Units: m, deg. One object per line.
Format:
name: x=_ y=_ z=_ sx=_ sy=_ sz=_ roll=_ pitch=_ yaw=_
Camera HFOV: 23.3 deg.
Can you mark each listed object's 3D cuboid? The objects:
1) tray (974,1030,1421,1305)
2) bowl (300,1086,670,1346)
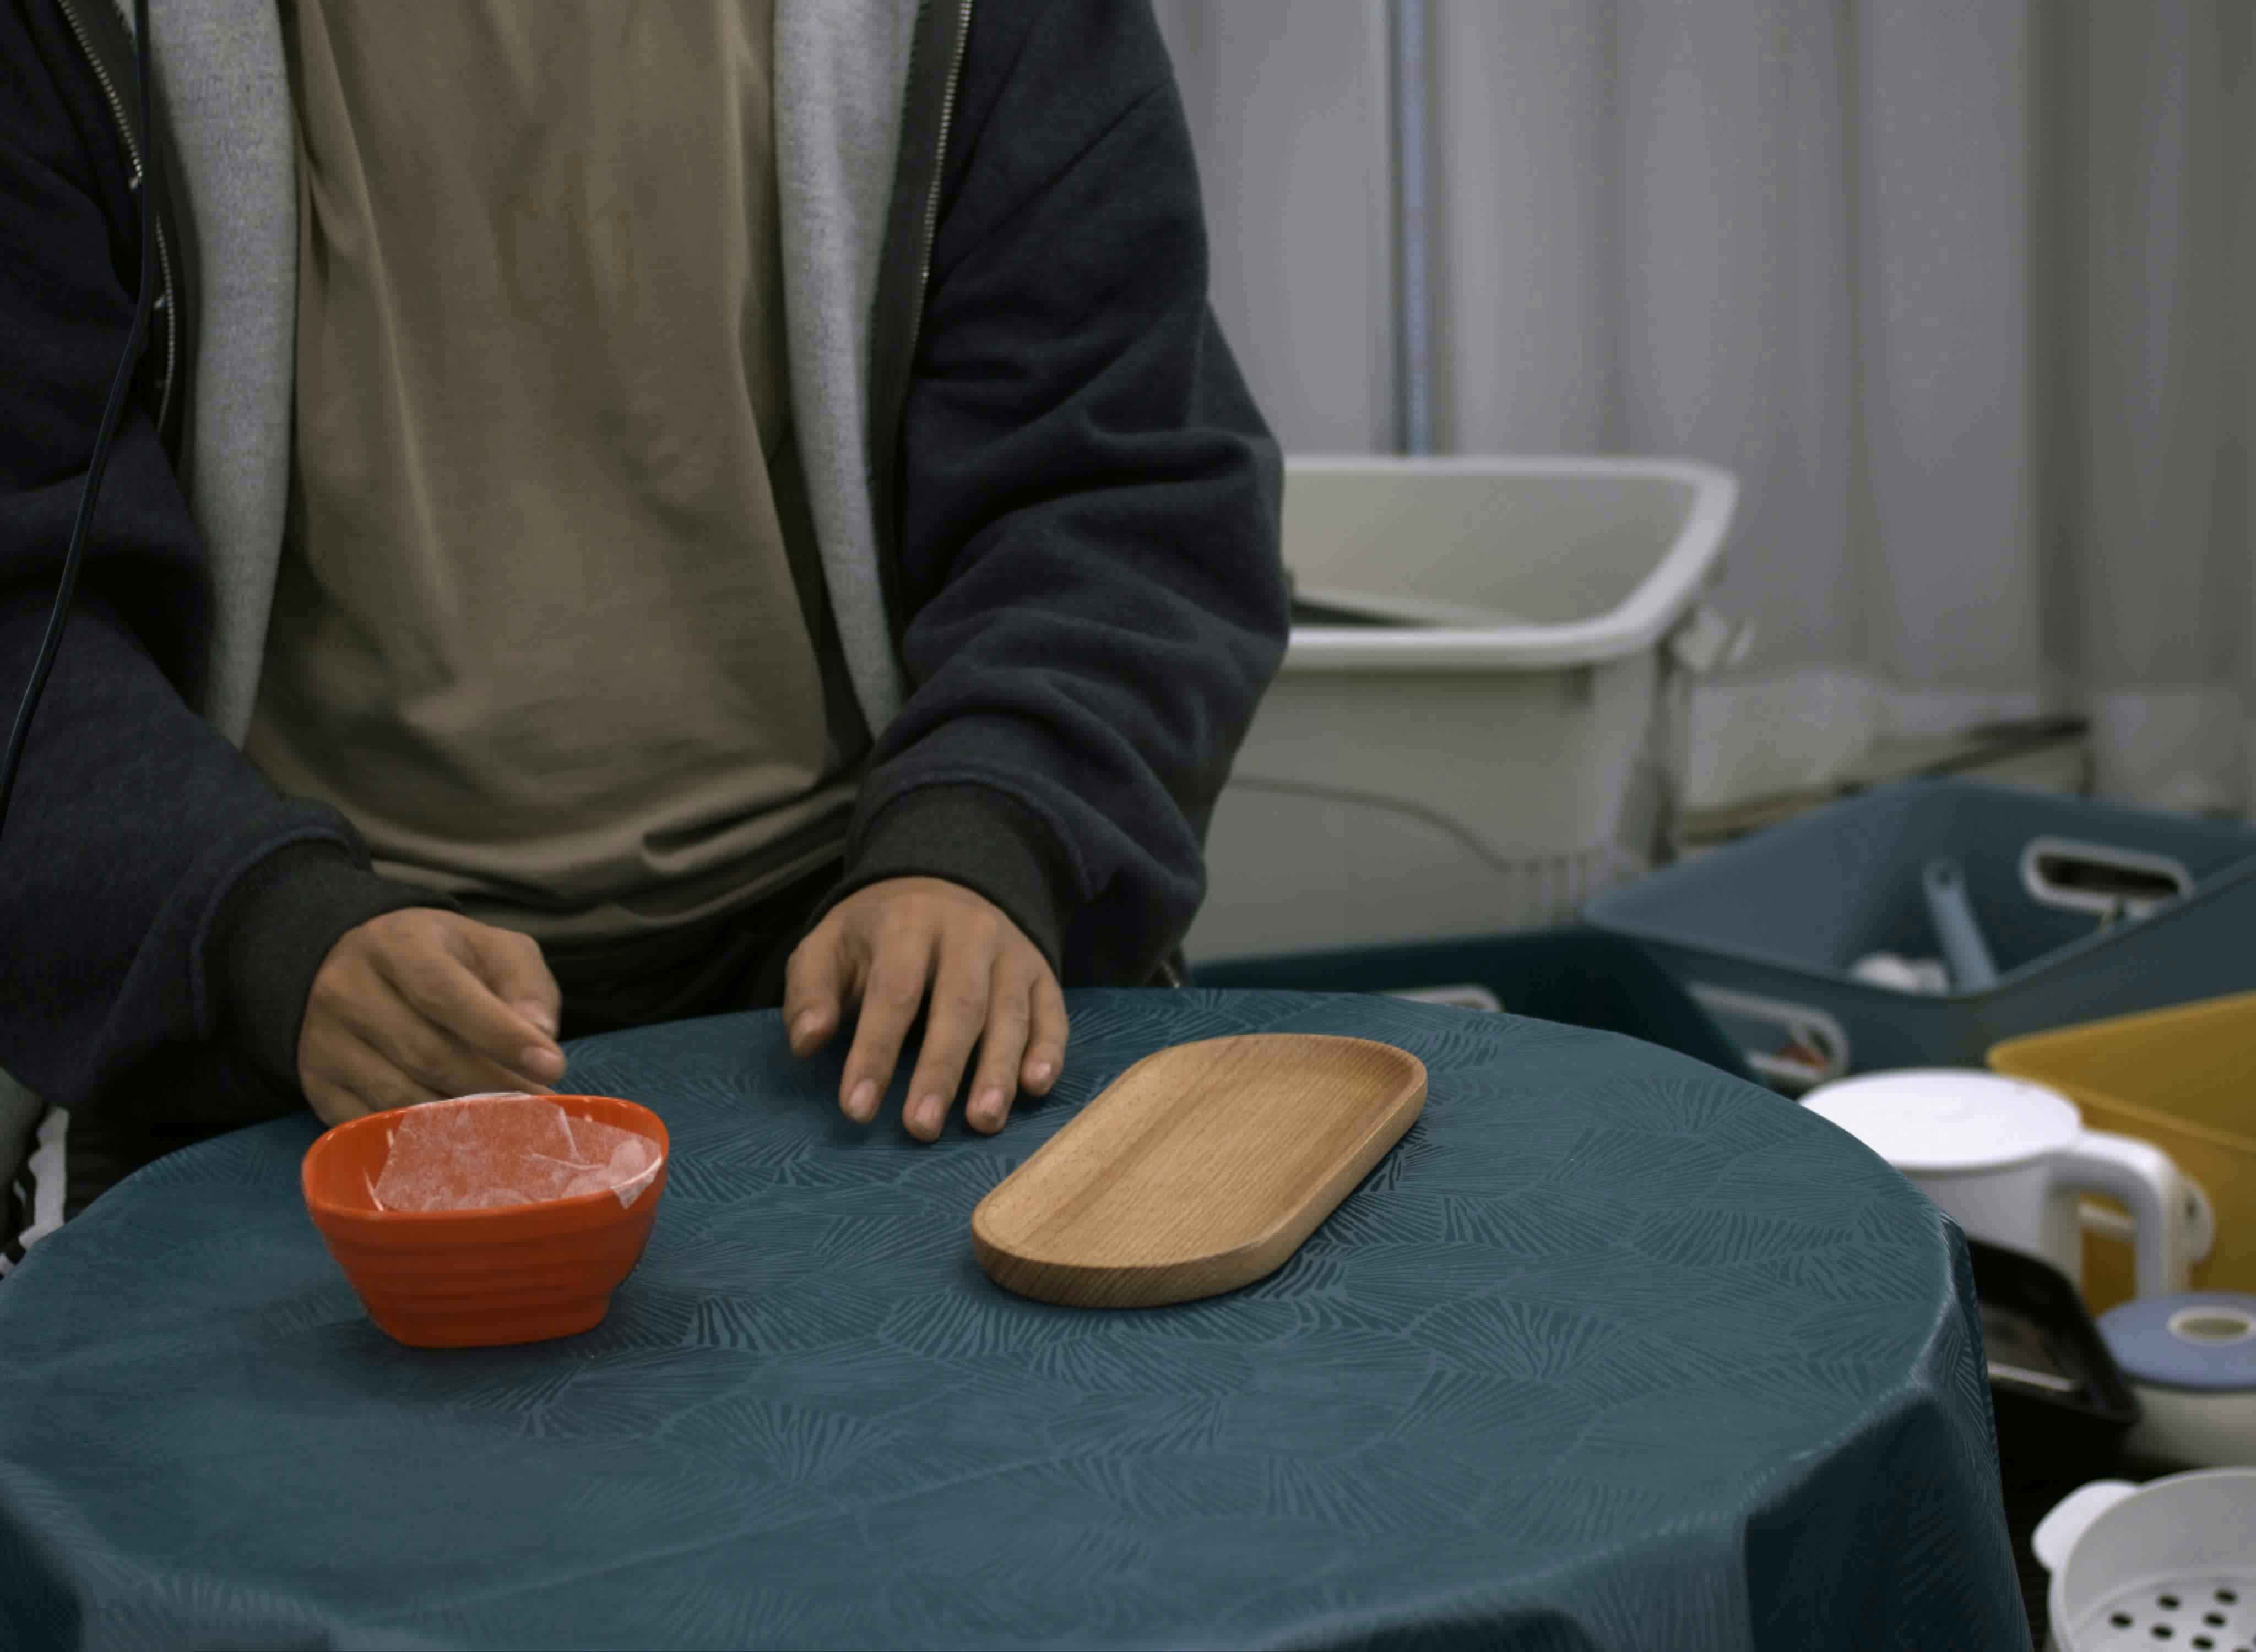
tray: x=0.024 y=0.105 z=1.716 sx=0.102 sy=0.020 sz=0.232 roll=3 pitch=15 yaw=18
bowl: x=-0.190 y=0.119 z=1.634 sx=0.118 sy=0.051 sz=0.120 roll=-4 pitch=15 yaw=1
